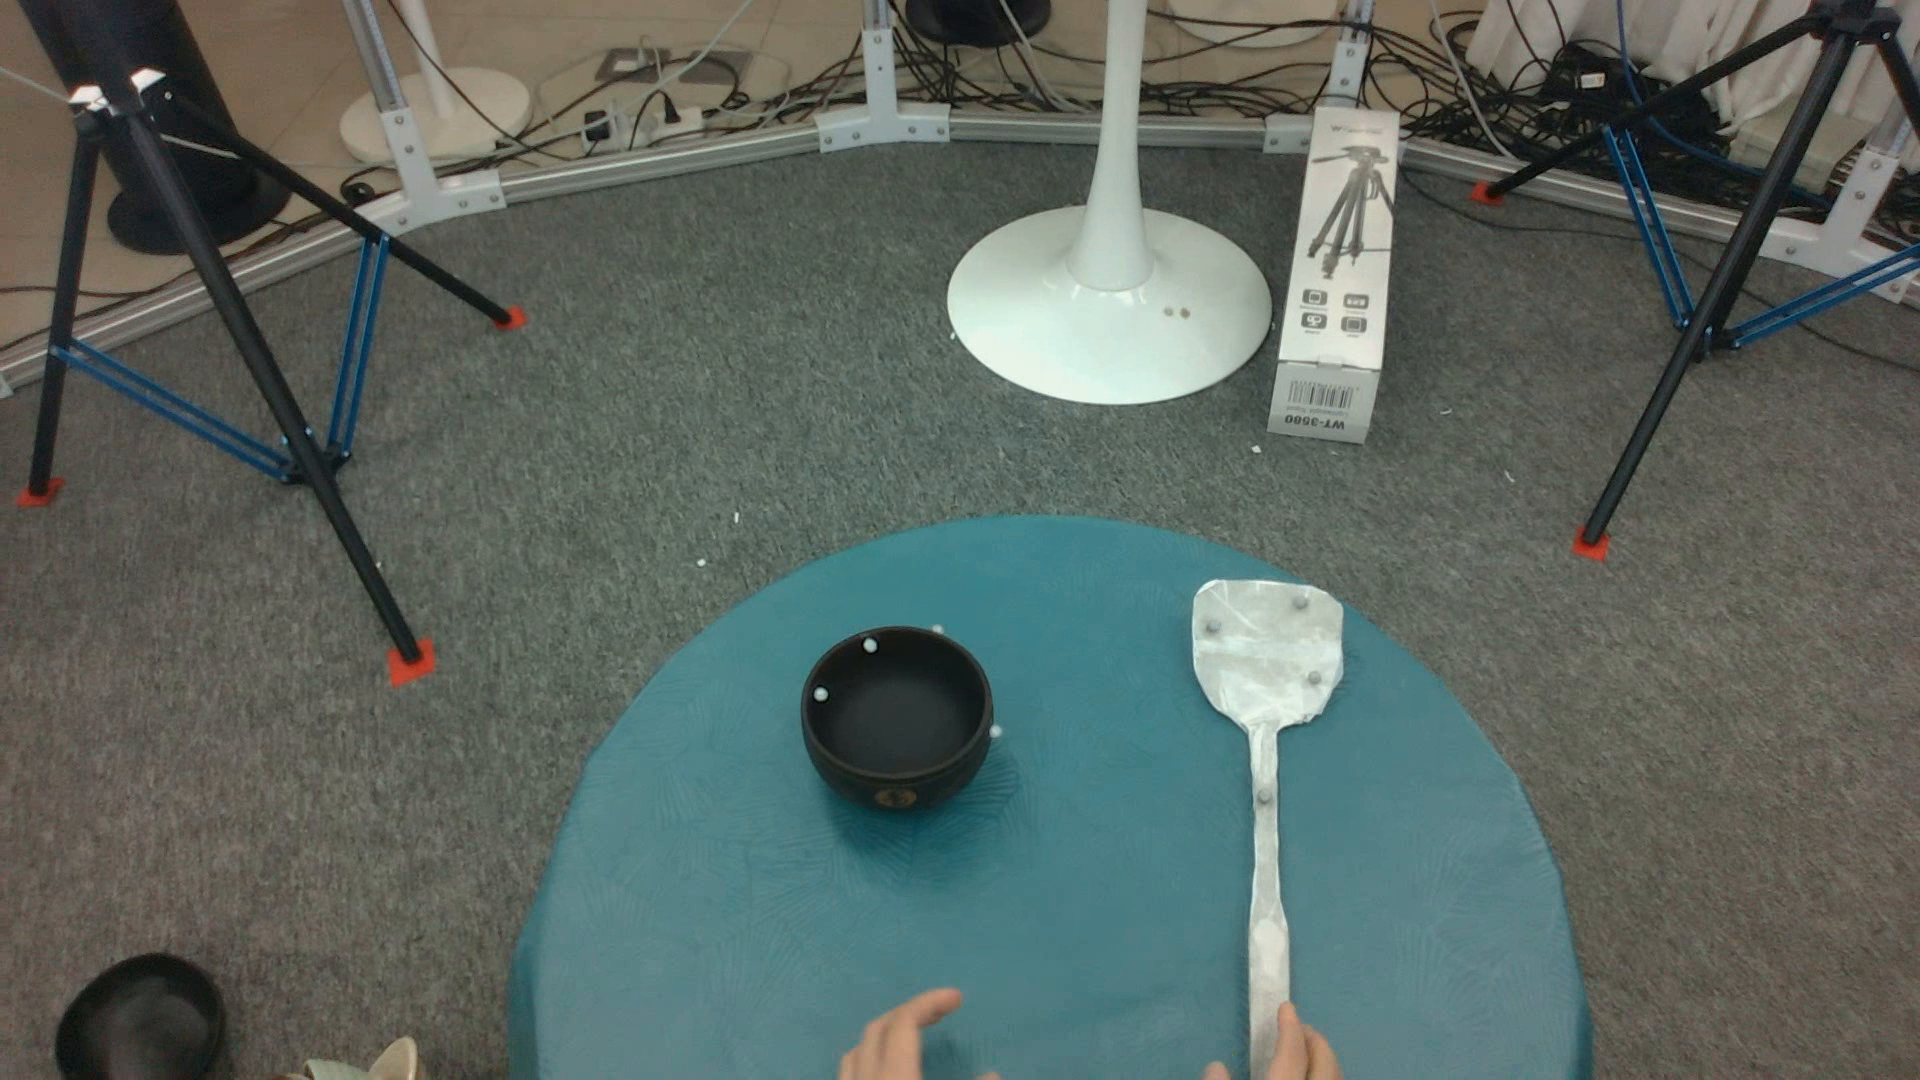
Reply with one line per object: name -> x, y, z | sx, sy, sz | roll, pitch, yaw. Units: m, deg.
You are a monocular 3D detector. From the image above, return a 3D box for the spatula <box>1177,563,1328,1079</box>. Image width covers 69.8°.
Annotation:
spatula -> 0.169, 0.164, 0.815 | 0.098, 0.044, 0.367 | 8, 47, 5

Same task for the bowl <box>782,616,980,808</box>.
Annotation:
bowl -> -0.047, 0.112, 0.841 | 0.118, 0.069, 0.118 | -1, 49, 1
